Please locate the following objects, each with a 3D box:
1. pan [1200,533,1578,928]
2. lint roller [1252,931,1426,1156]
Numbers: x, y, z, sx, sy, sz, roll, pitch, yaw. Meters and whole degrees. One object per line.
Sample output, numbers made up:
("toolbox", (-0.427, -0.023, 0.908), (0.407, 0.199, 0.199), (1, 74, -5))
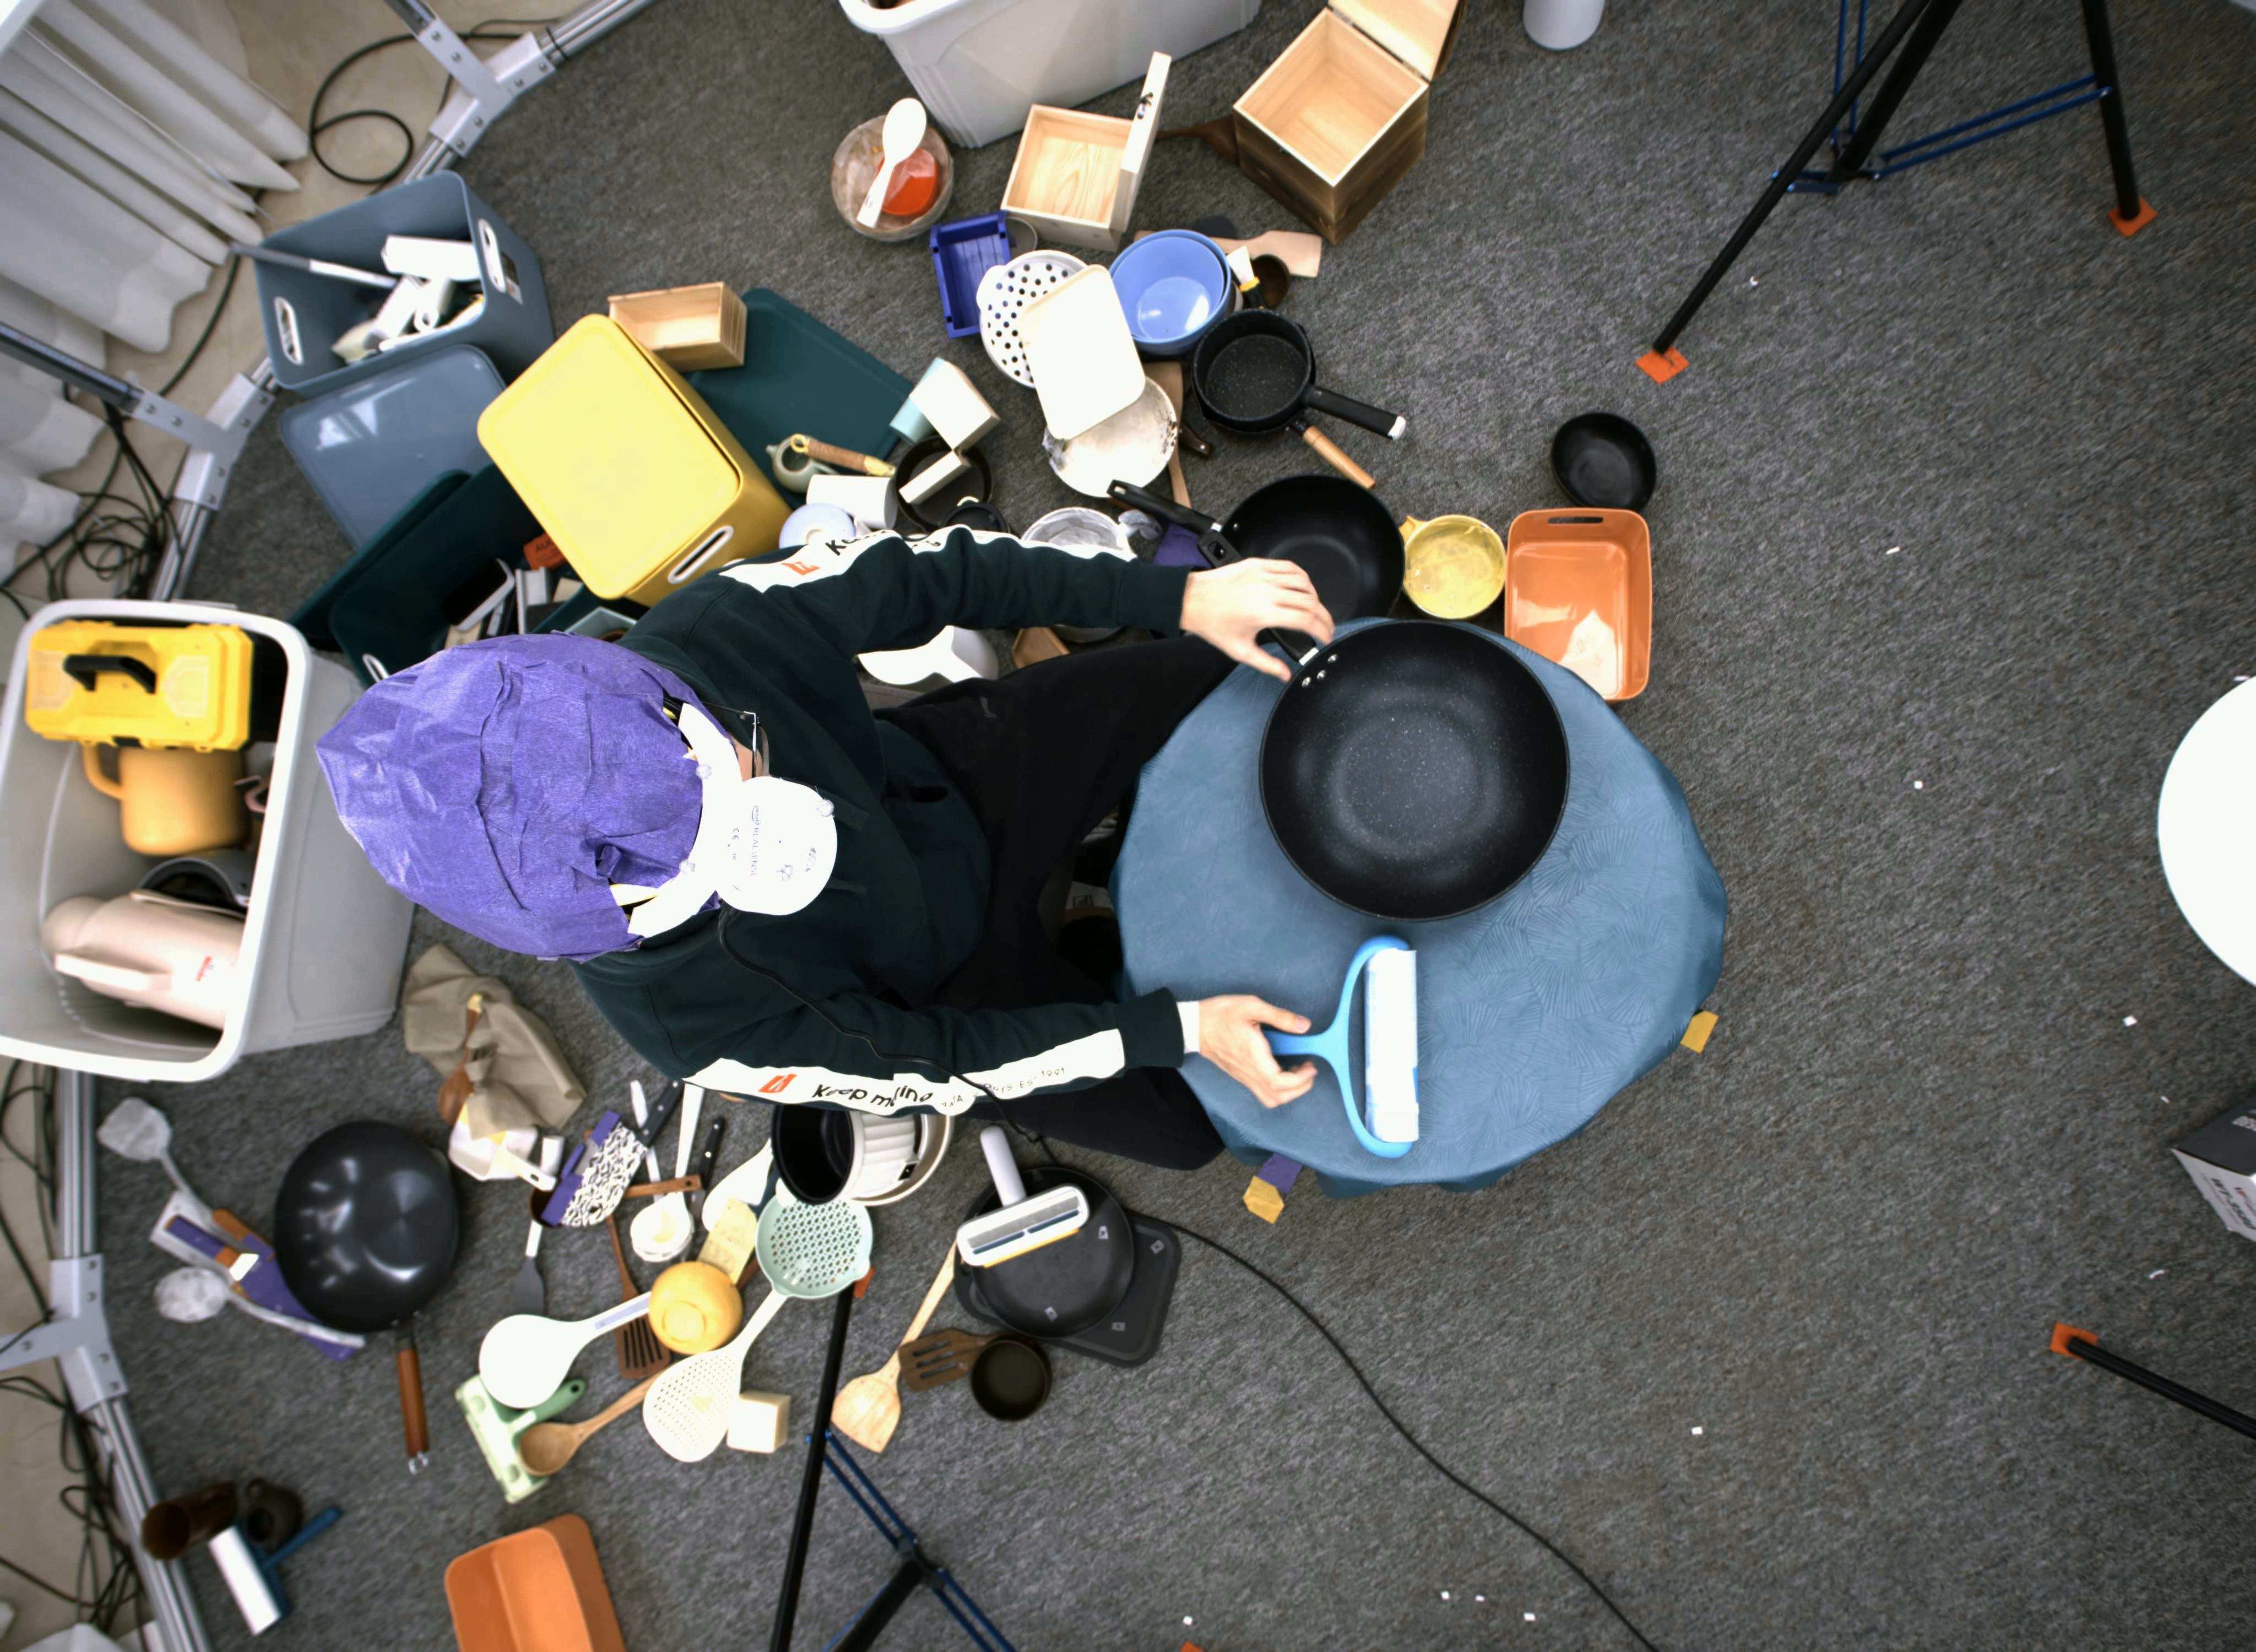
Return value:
("pan", (0.241, -0.113, 1.416), (0.311, 0.112, 0.474), (-42, 81, 4))
("lint roller", (0.216, 0.226, 1.429), (0.181, 0.068, 0.228), (-5, 88, 10))
